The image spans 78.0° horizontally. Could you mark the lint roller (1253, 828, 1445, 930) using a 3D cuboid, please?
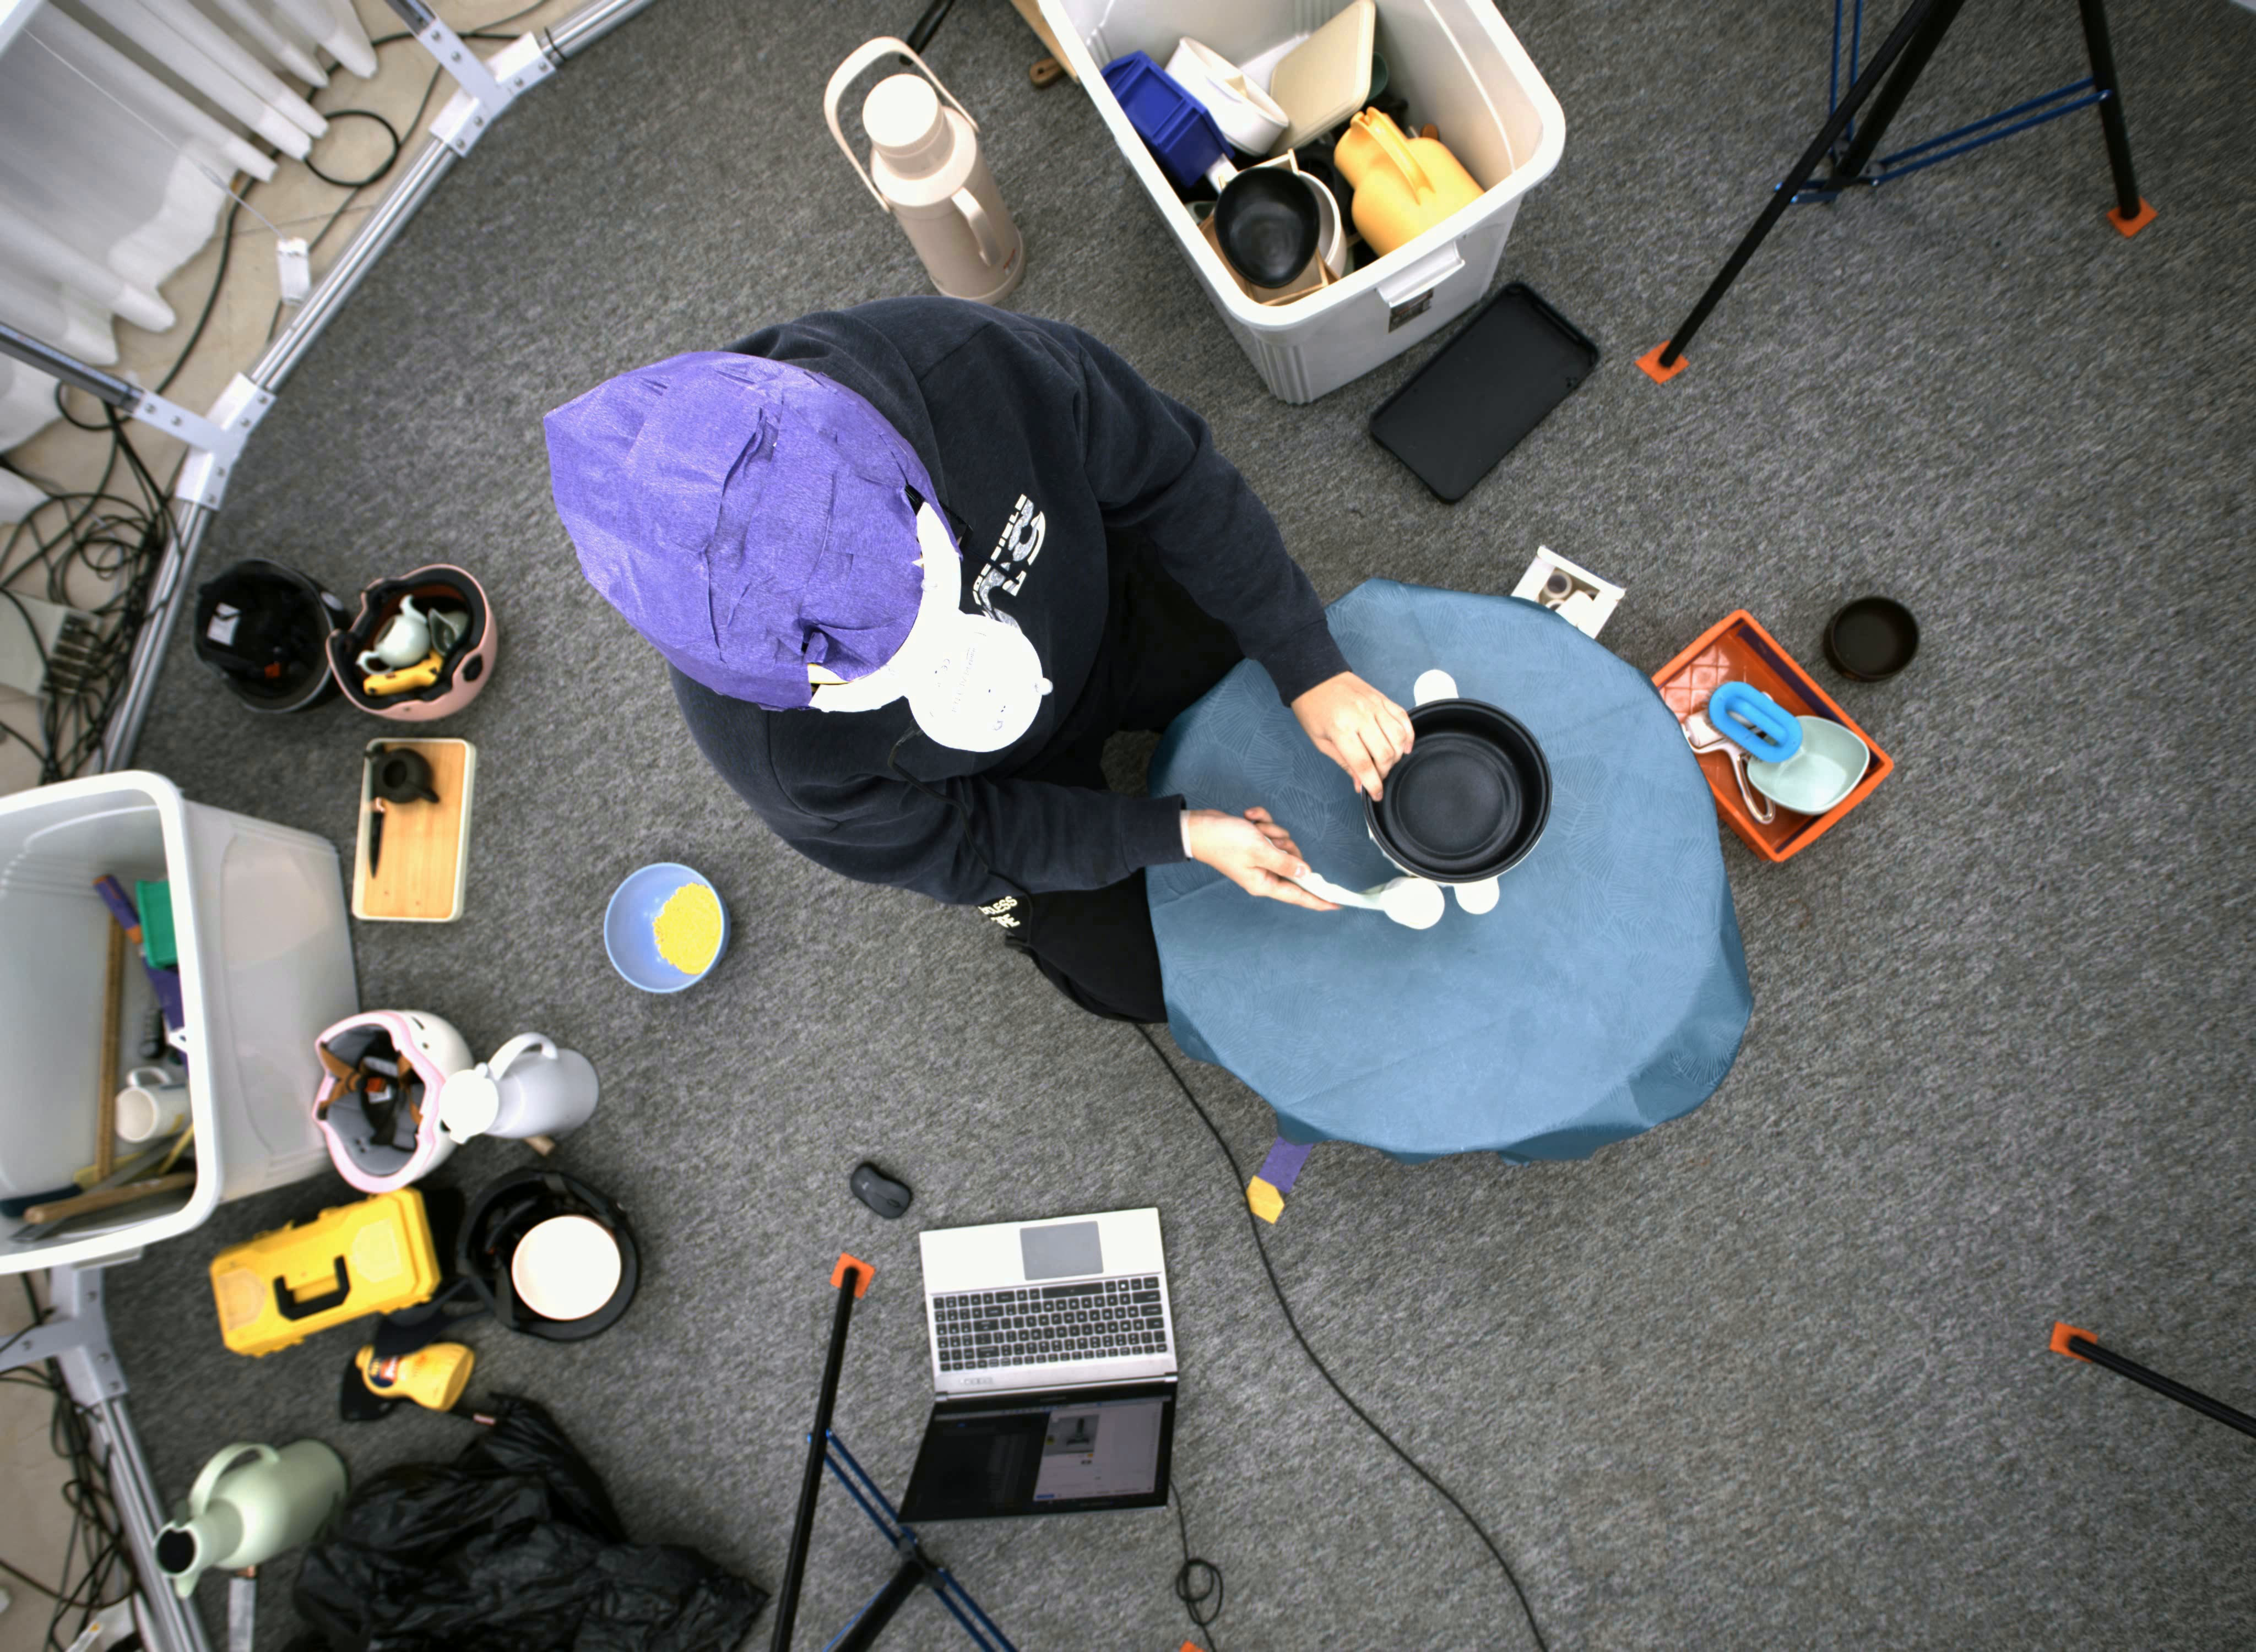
[{"bbox_3d":[0.215,0.051,1.372,0.198,0.116,0.049,18,94,4],"label":"lint roller"}]

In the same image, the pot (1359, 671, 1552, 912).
[{"bbox_3d":[0.331,-0.033,1.385,0.192,0.142,0.239,-12,85,13],"label":"pot"}]
